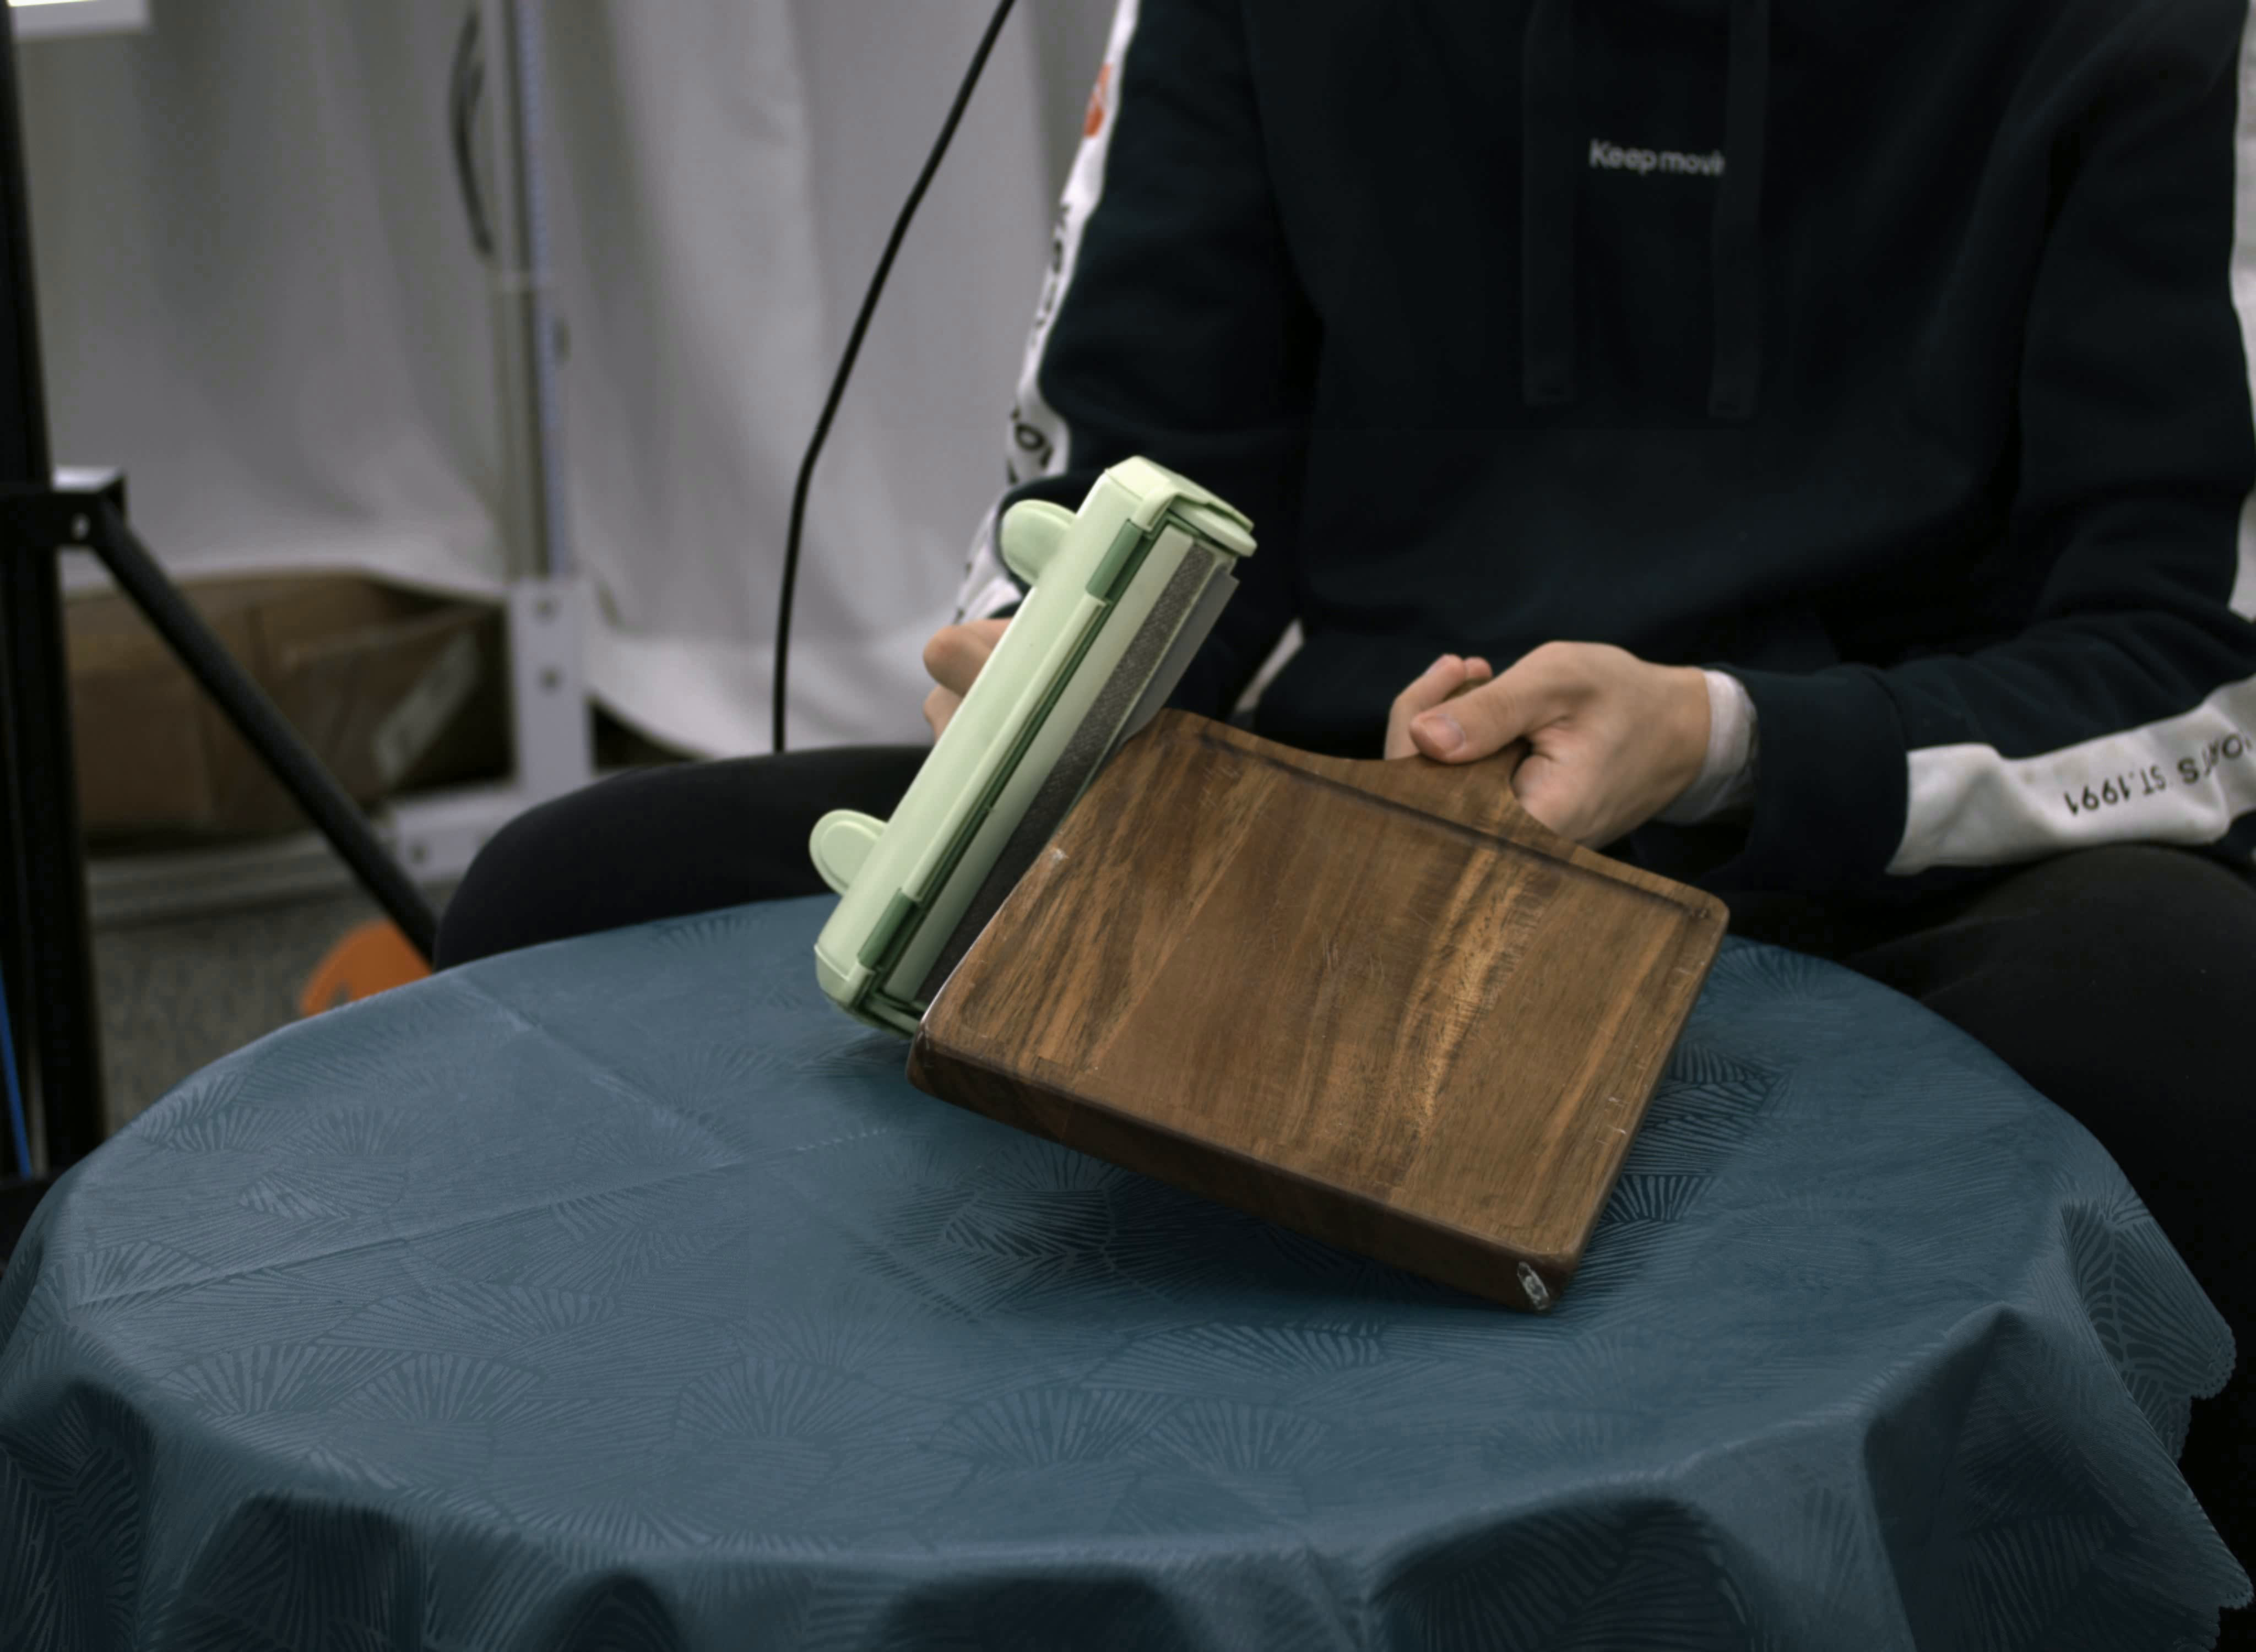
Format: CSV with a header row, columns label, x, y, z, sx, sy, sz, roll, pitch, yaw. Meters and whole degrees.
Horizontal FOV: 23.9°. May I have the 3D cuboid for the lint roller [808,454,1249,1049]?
label,x,y,z,sx,sy,sz,roll,pitch,yaw
lint roller,-0.036,-0.032,1.733,0.082,0.199,0.183,31,6,-3

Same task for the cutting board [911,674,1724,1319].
label,x,y,z,sx,sy,sz,roll,pitch,yaw
cutting board,0.076,0.030,1.608,0.202,0.023,0.350,19,27,9
